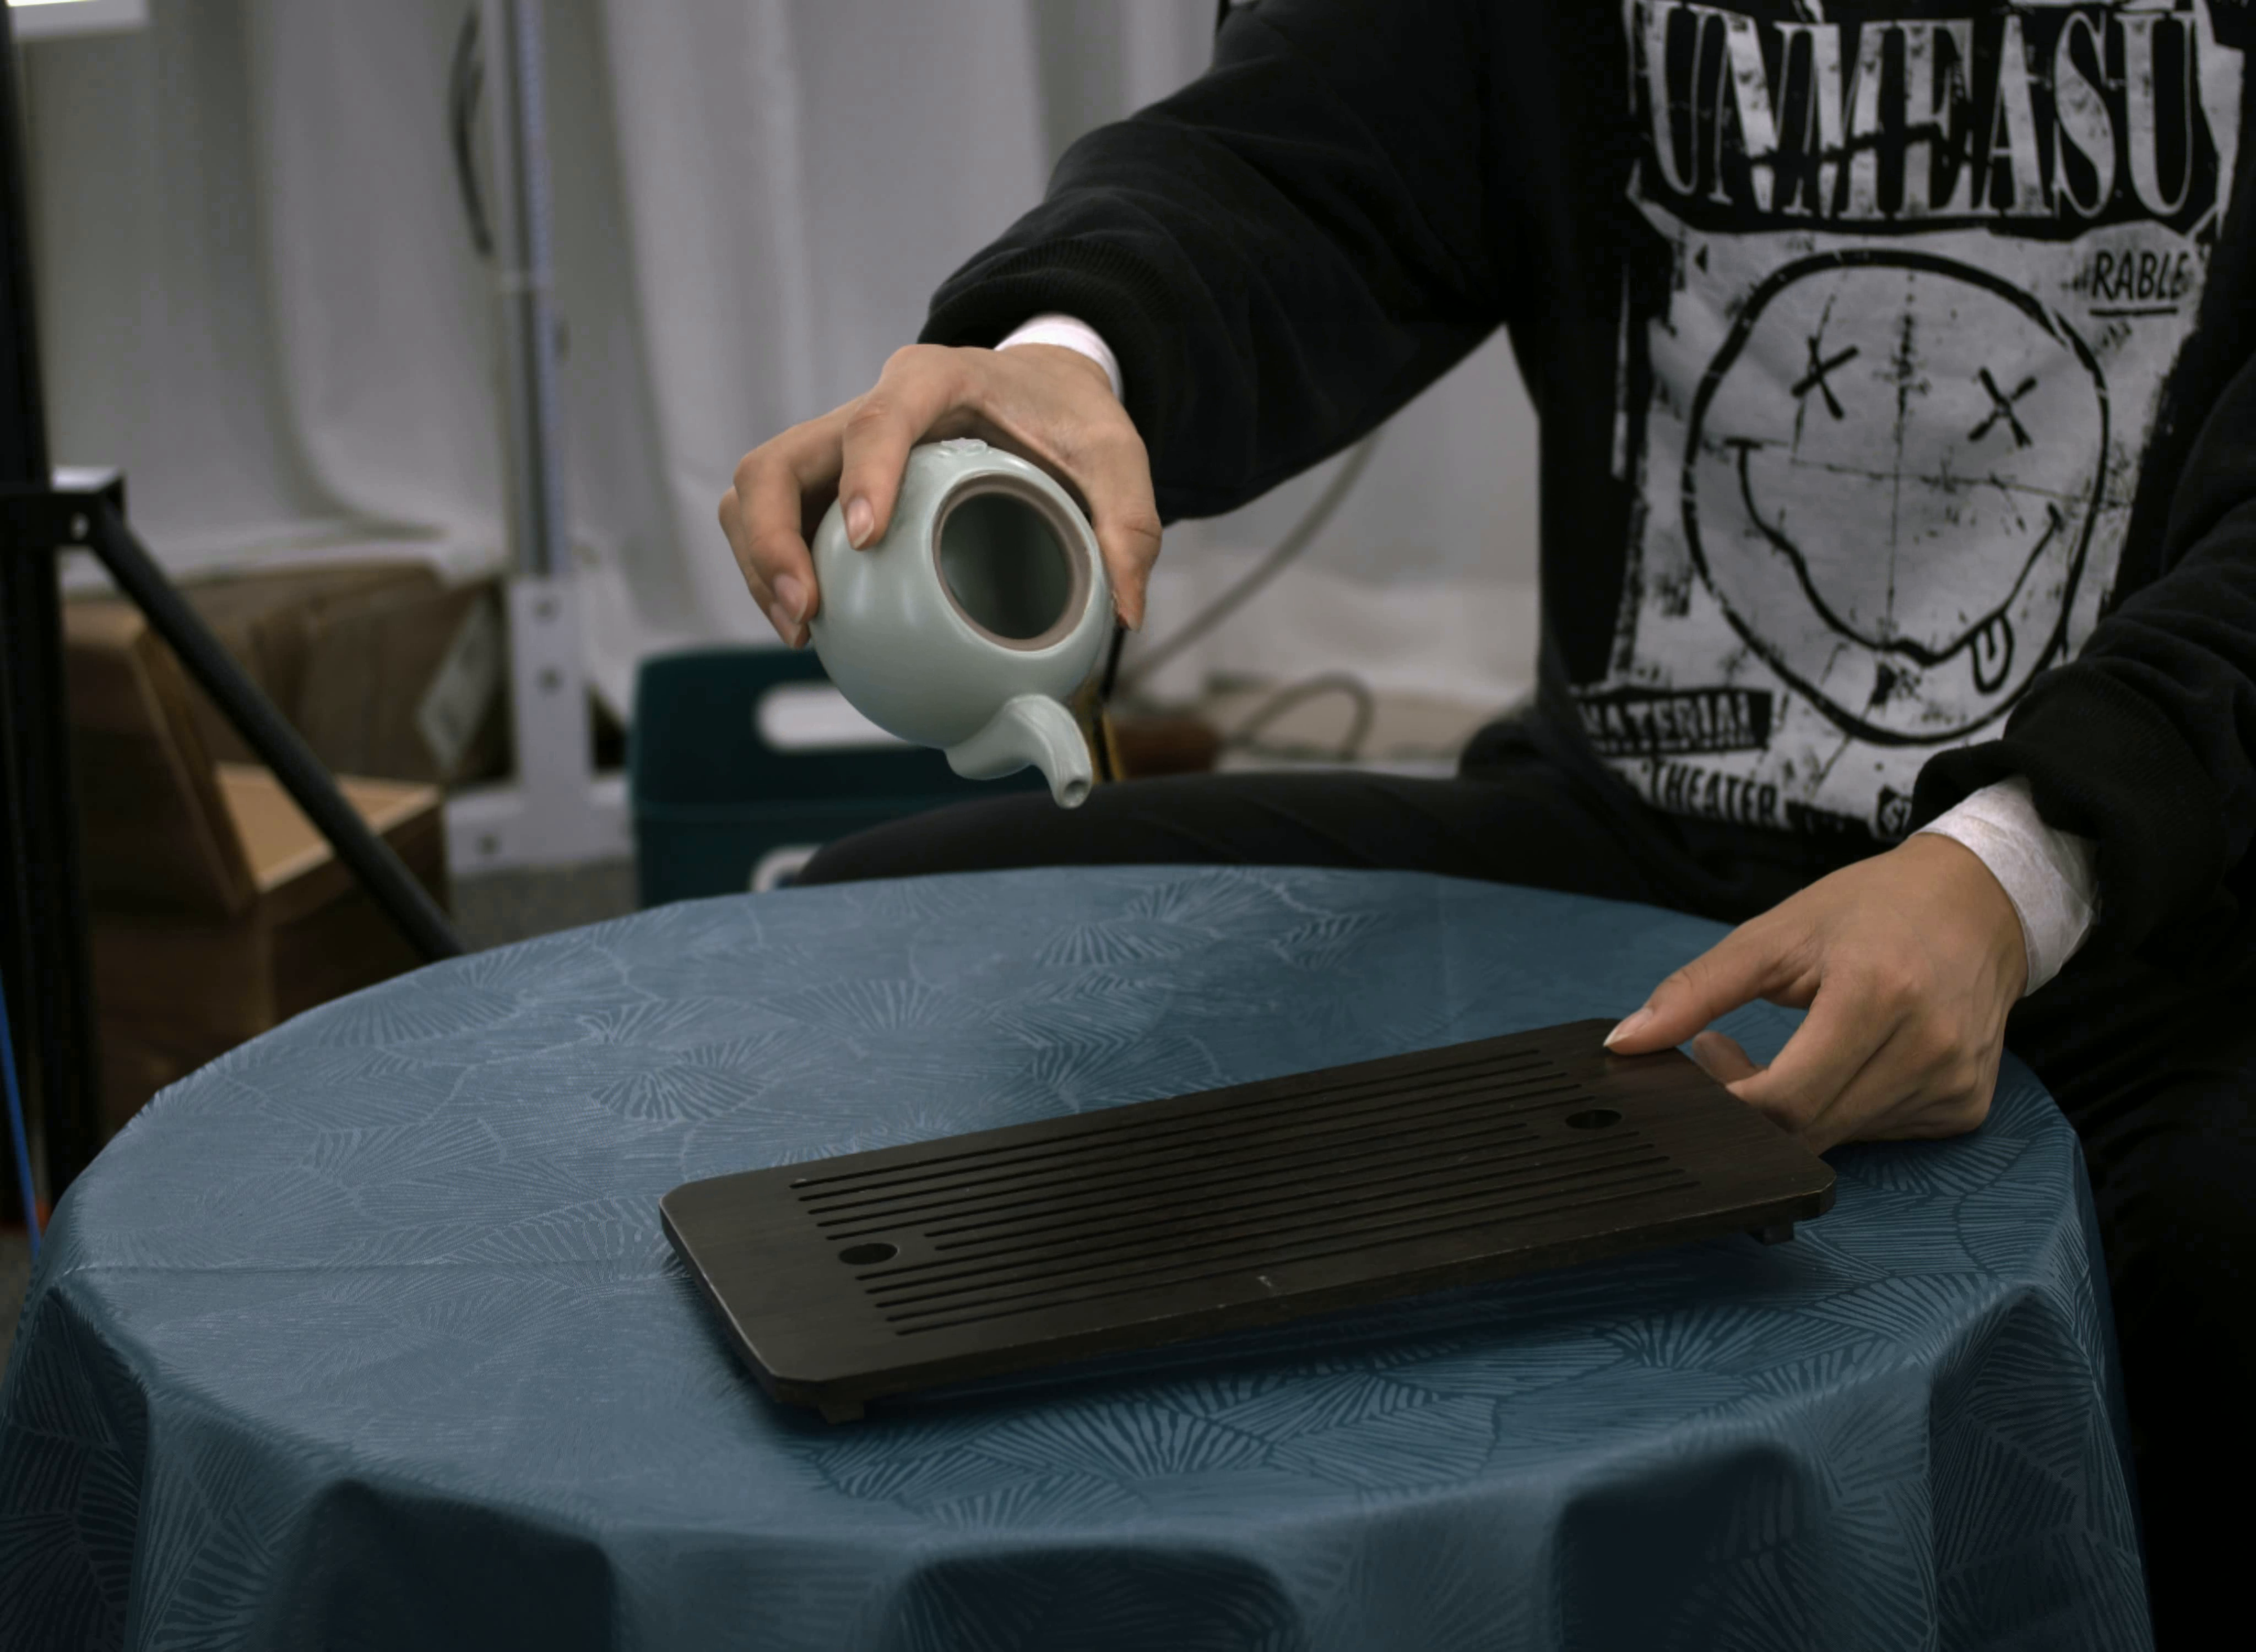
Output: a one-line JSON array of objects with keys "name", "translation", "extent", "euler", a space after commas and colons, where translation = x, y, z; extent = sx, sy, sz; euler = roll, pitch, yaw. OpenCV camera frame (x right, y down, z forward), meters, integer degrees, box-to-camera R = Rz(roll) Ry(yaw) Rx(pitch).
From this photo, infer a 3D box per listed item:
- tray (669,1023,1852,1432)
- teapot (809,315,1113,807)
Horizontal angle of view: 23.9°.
[{"name": "tray", "translation": [0.034, 0.110, 1.483], "extent": [0.301, 0.018, 0.172], "euler": [-9, 16, -13]}, {"name": "teapot", "translation": [-0.047, -0.068, 1.511], "extent": [0.086, 0.145, 0.076], "euler": [-5, -11, -35]}]
